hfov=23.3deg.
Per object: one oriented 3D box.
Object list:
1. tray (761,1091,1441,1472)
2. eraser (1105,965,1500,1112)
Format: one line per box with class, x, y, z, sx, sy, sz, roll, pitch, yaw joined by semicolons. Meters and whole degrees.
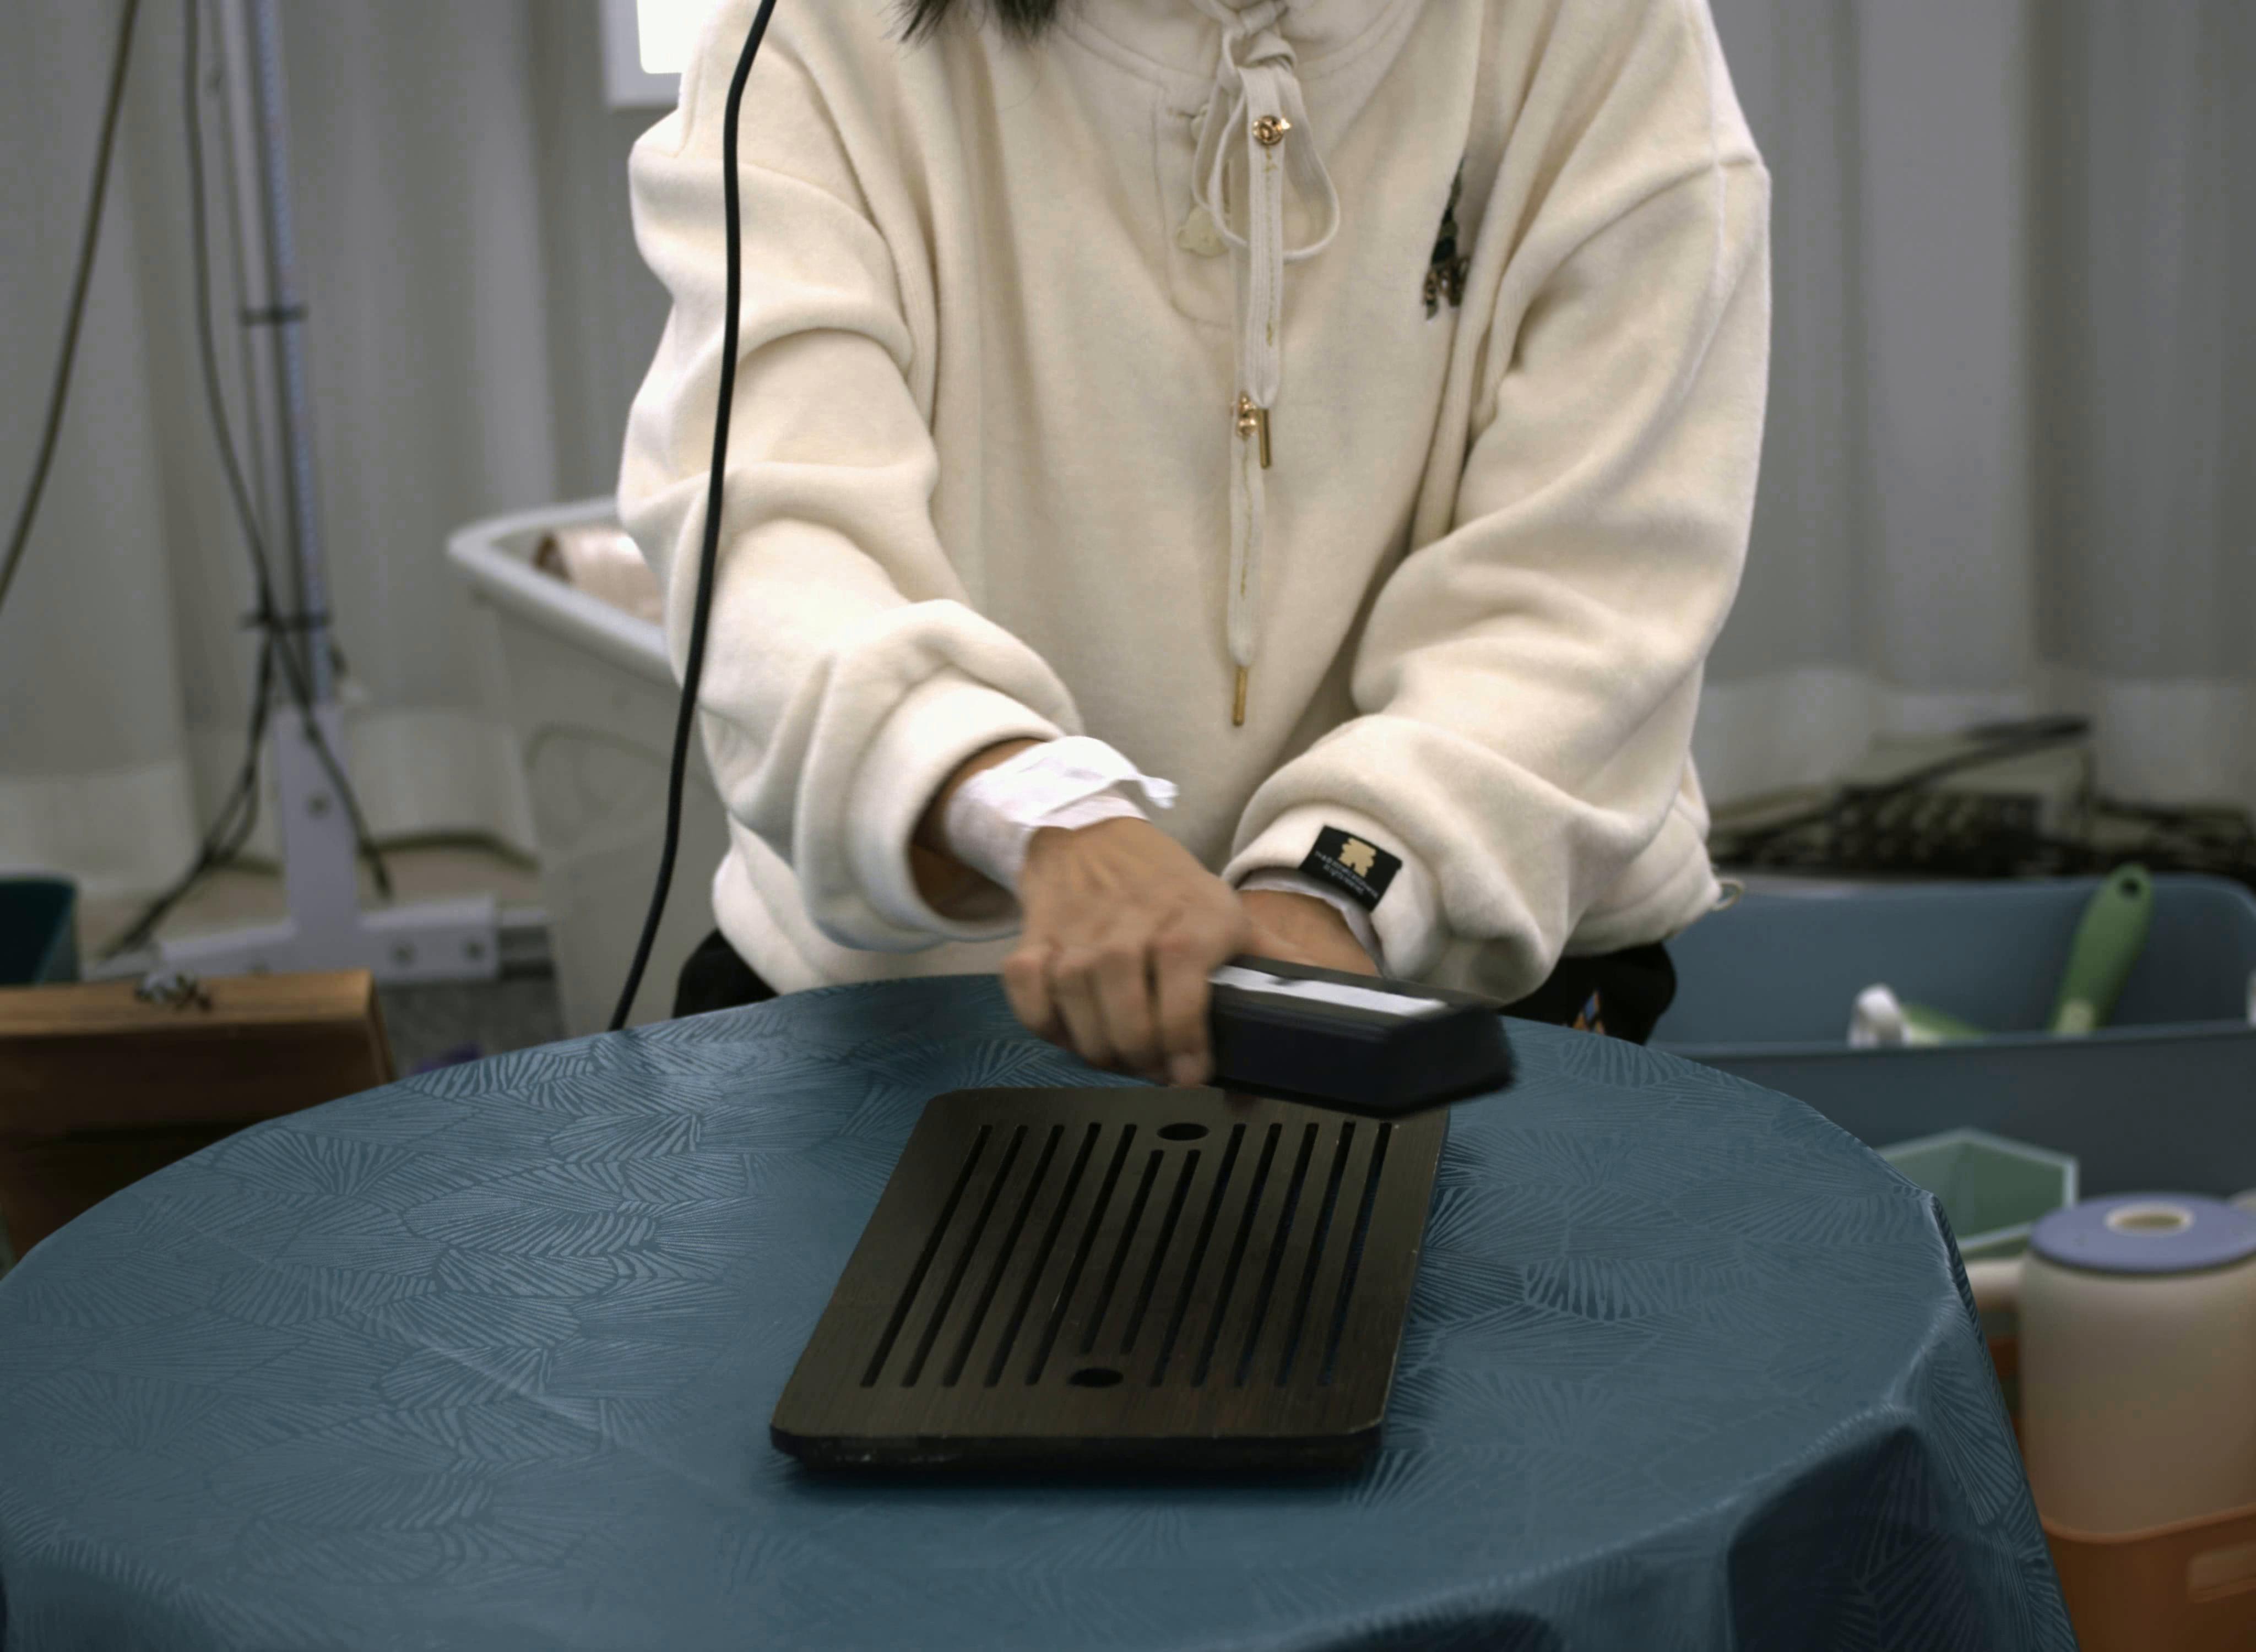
tray;0.000;0.132;1.614;0.170;0.018;0.307;-1;15;7
eraser;0.052;0.063;1.639;0.053;0.030;0.126;-8;9;-38
